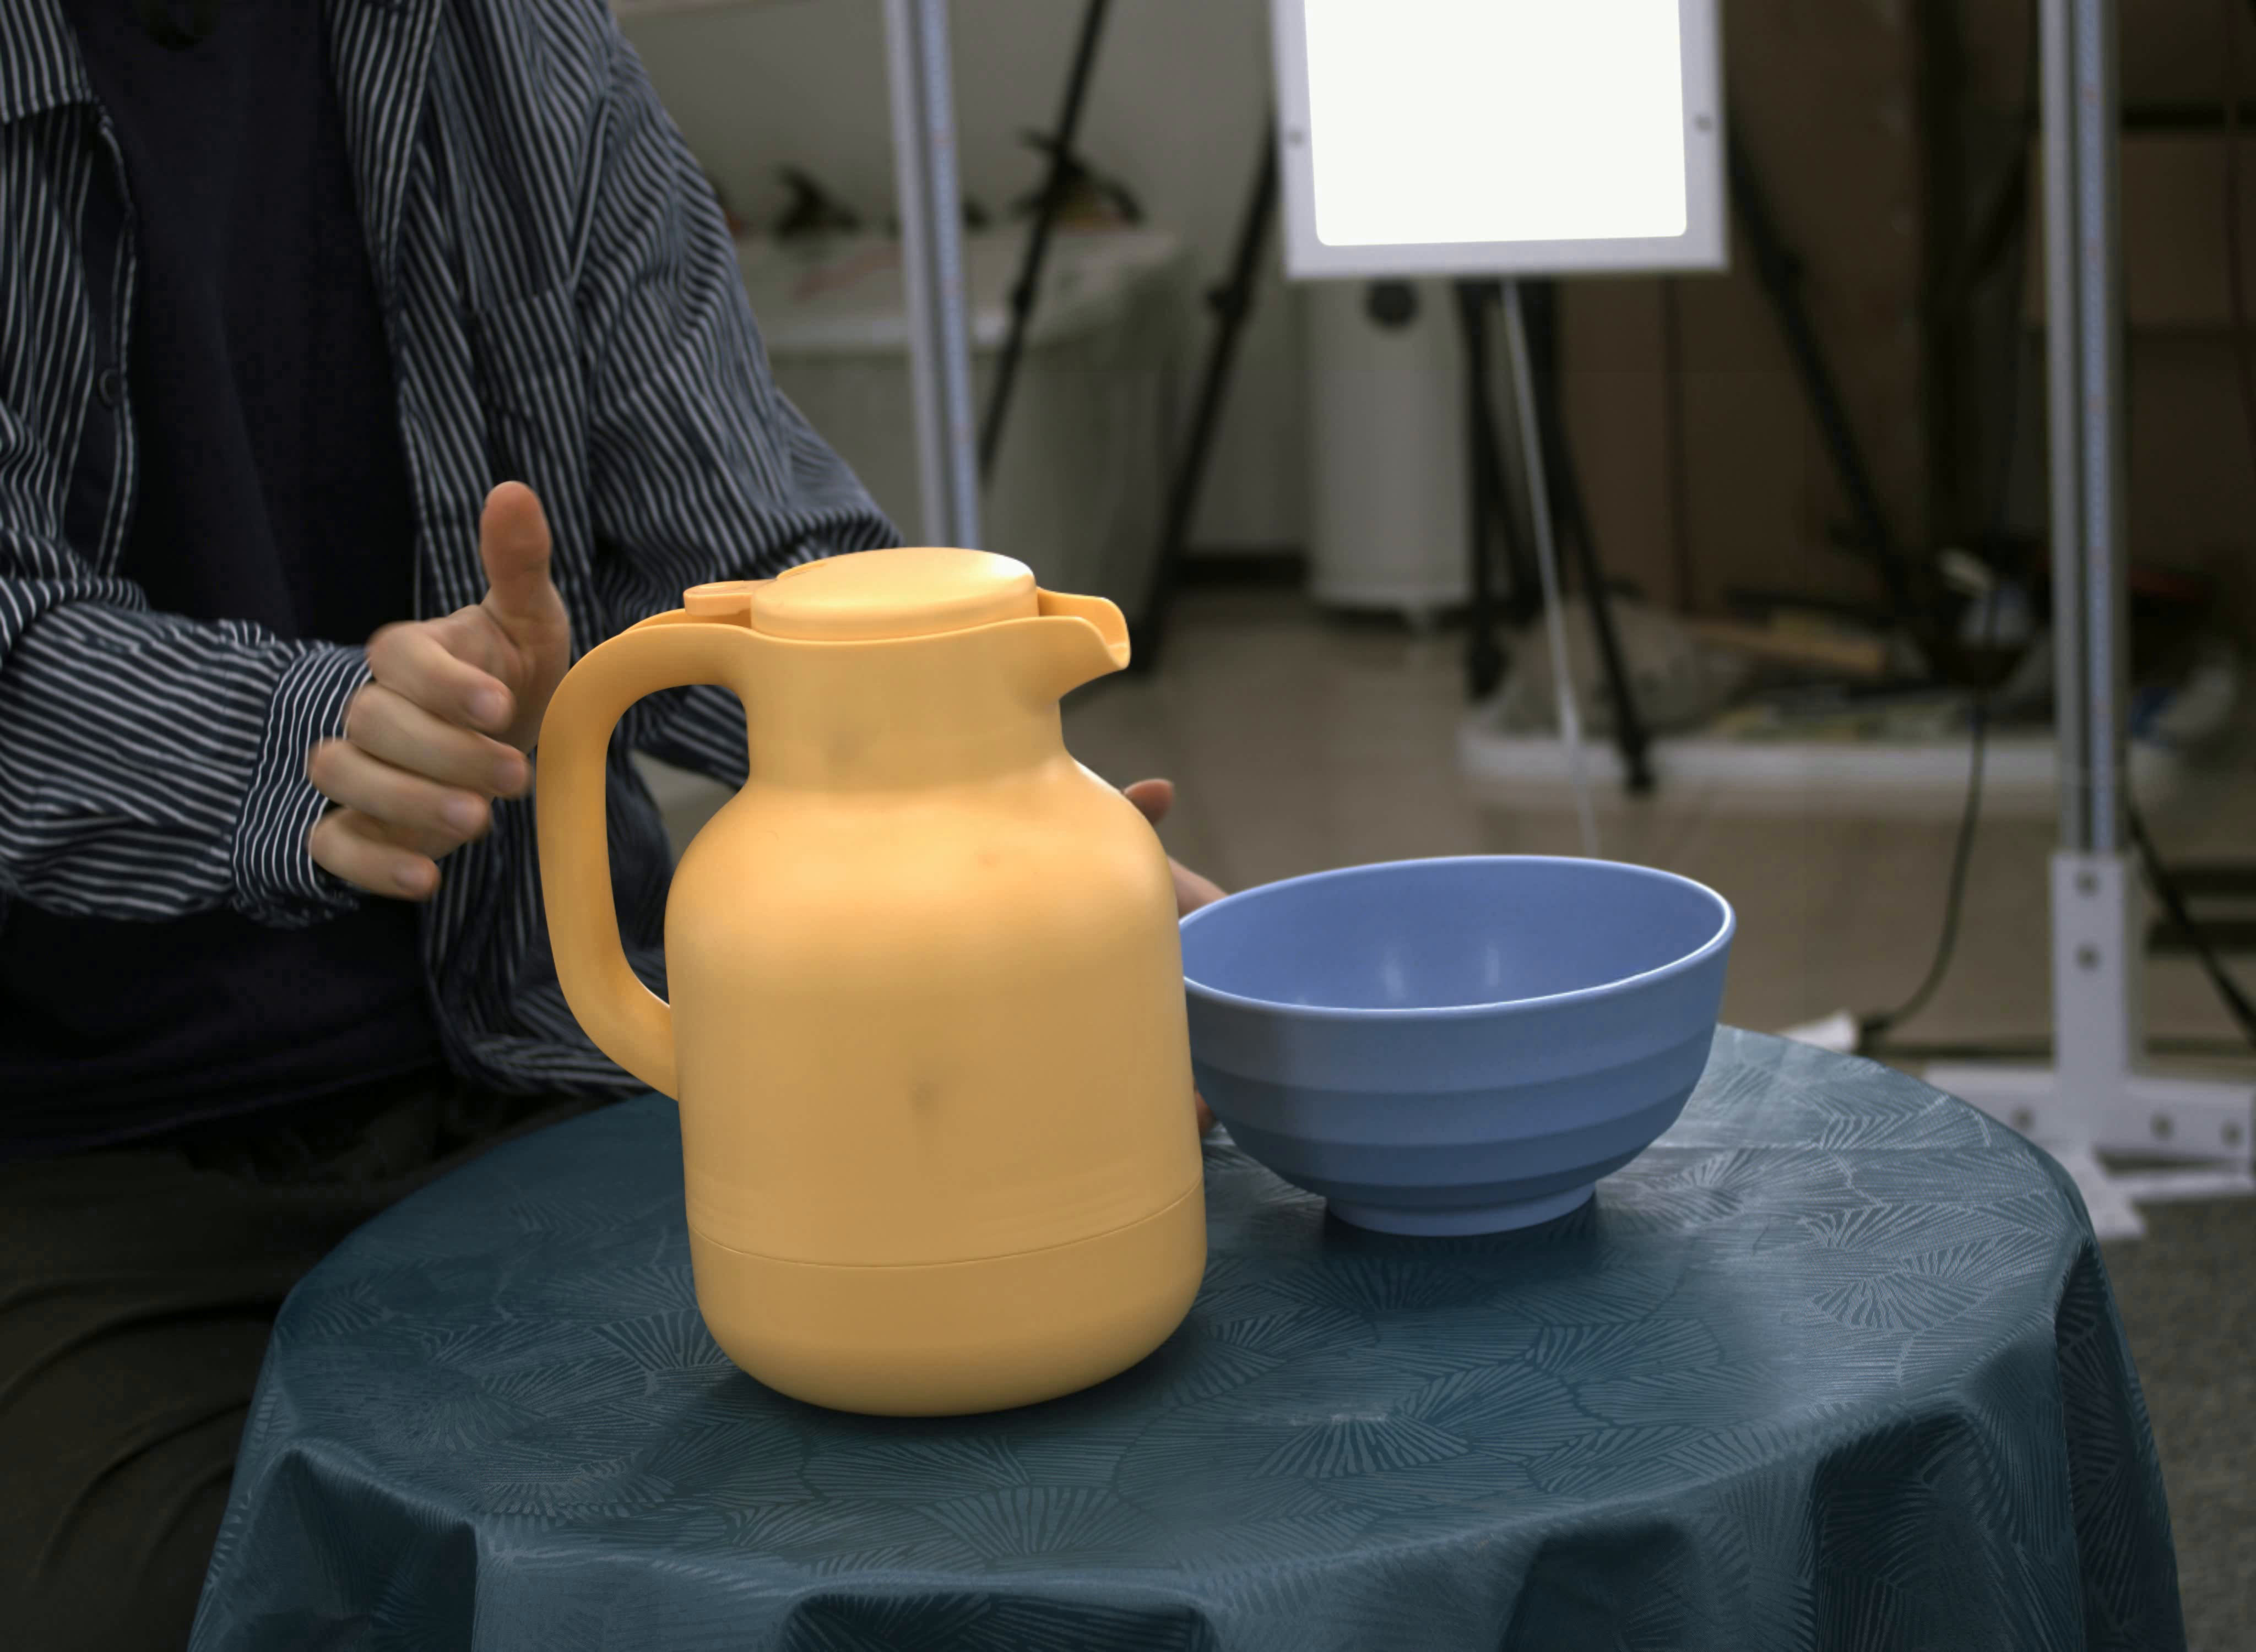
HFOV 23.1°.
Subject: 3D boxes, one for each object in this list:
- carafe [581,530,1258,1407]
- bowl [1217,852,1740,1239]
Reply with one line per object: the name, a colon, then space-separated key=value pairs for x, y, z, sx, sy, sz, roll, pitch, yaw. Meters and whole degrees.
carafe: x=-0.066 y=0.040 z=1.722 sx=0.205 sy=0.261 sz=0.161 roll=-1 pitch=15 yaw=18
bowl: x=0.110 y=0.079 z=1.847 sx=0.196 sy=0.096 sz=0.196 roll=-5 pitch=14 yaw=0
